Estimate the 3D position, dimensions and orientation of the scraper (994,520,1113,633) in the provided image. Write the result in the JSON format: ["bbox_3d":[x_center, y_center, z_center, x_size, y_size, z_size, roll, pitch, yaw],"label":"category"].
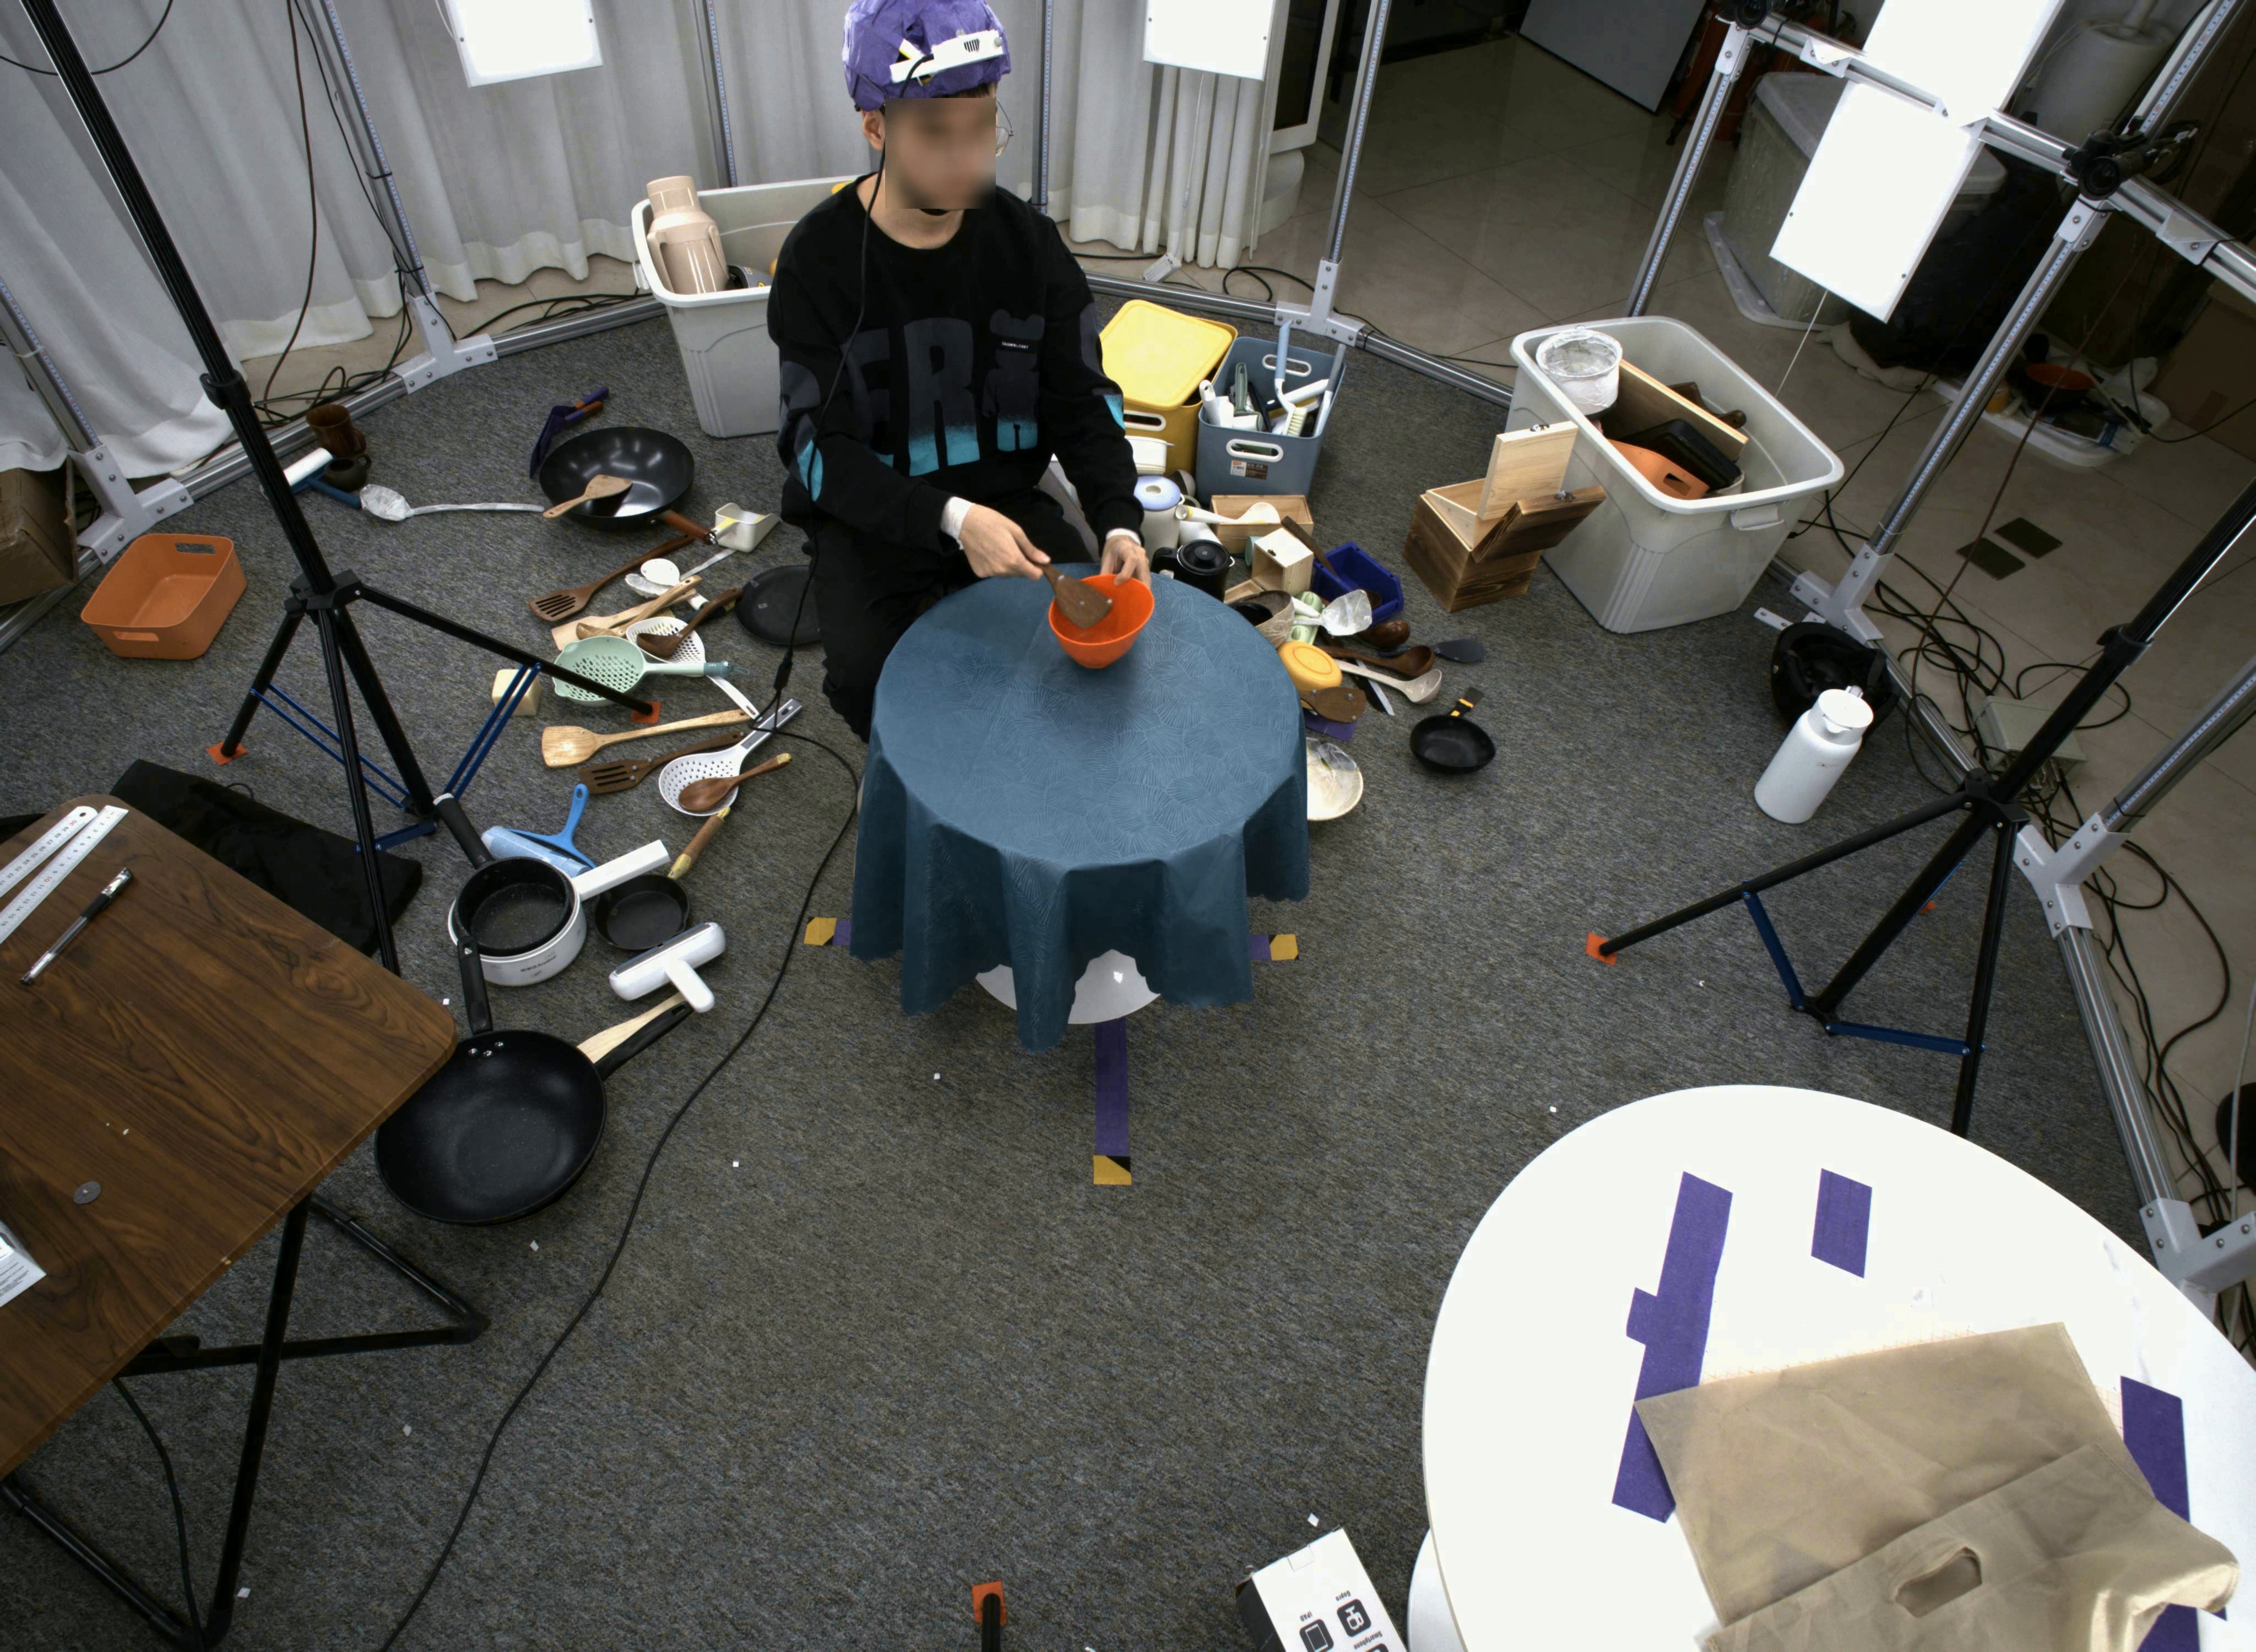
[{"bbox_3d":[-0.113,-0.360,1.842,0.212,0.010,0.076,46,56,8],"label":"scraper"}]

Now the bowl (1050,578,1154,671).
[{"bbox_3d":[-0.036,-0.277,1.839,0.148,0.102,0.151,-1,52,1],"label":"bowl"}]
